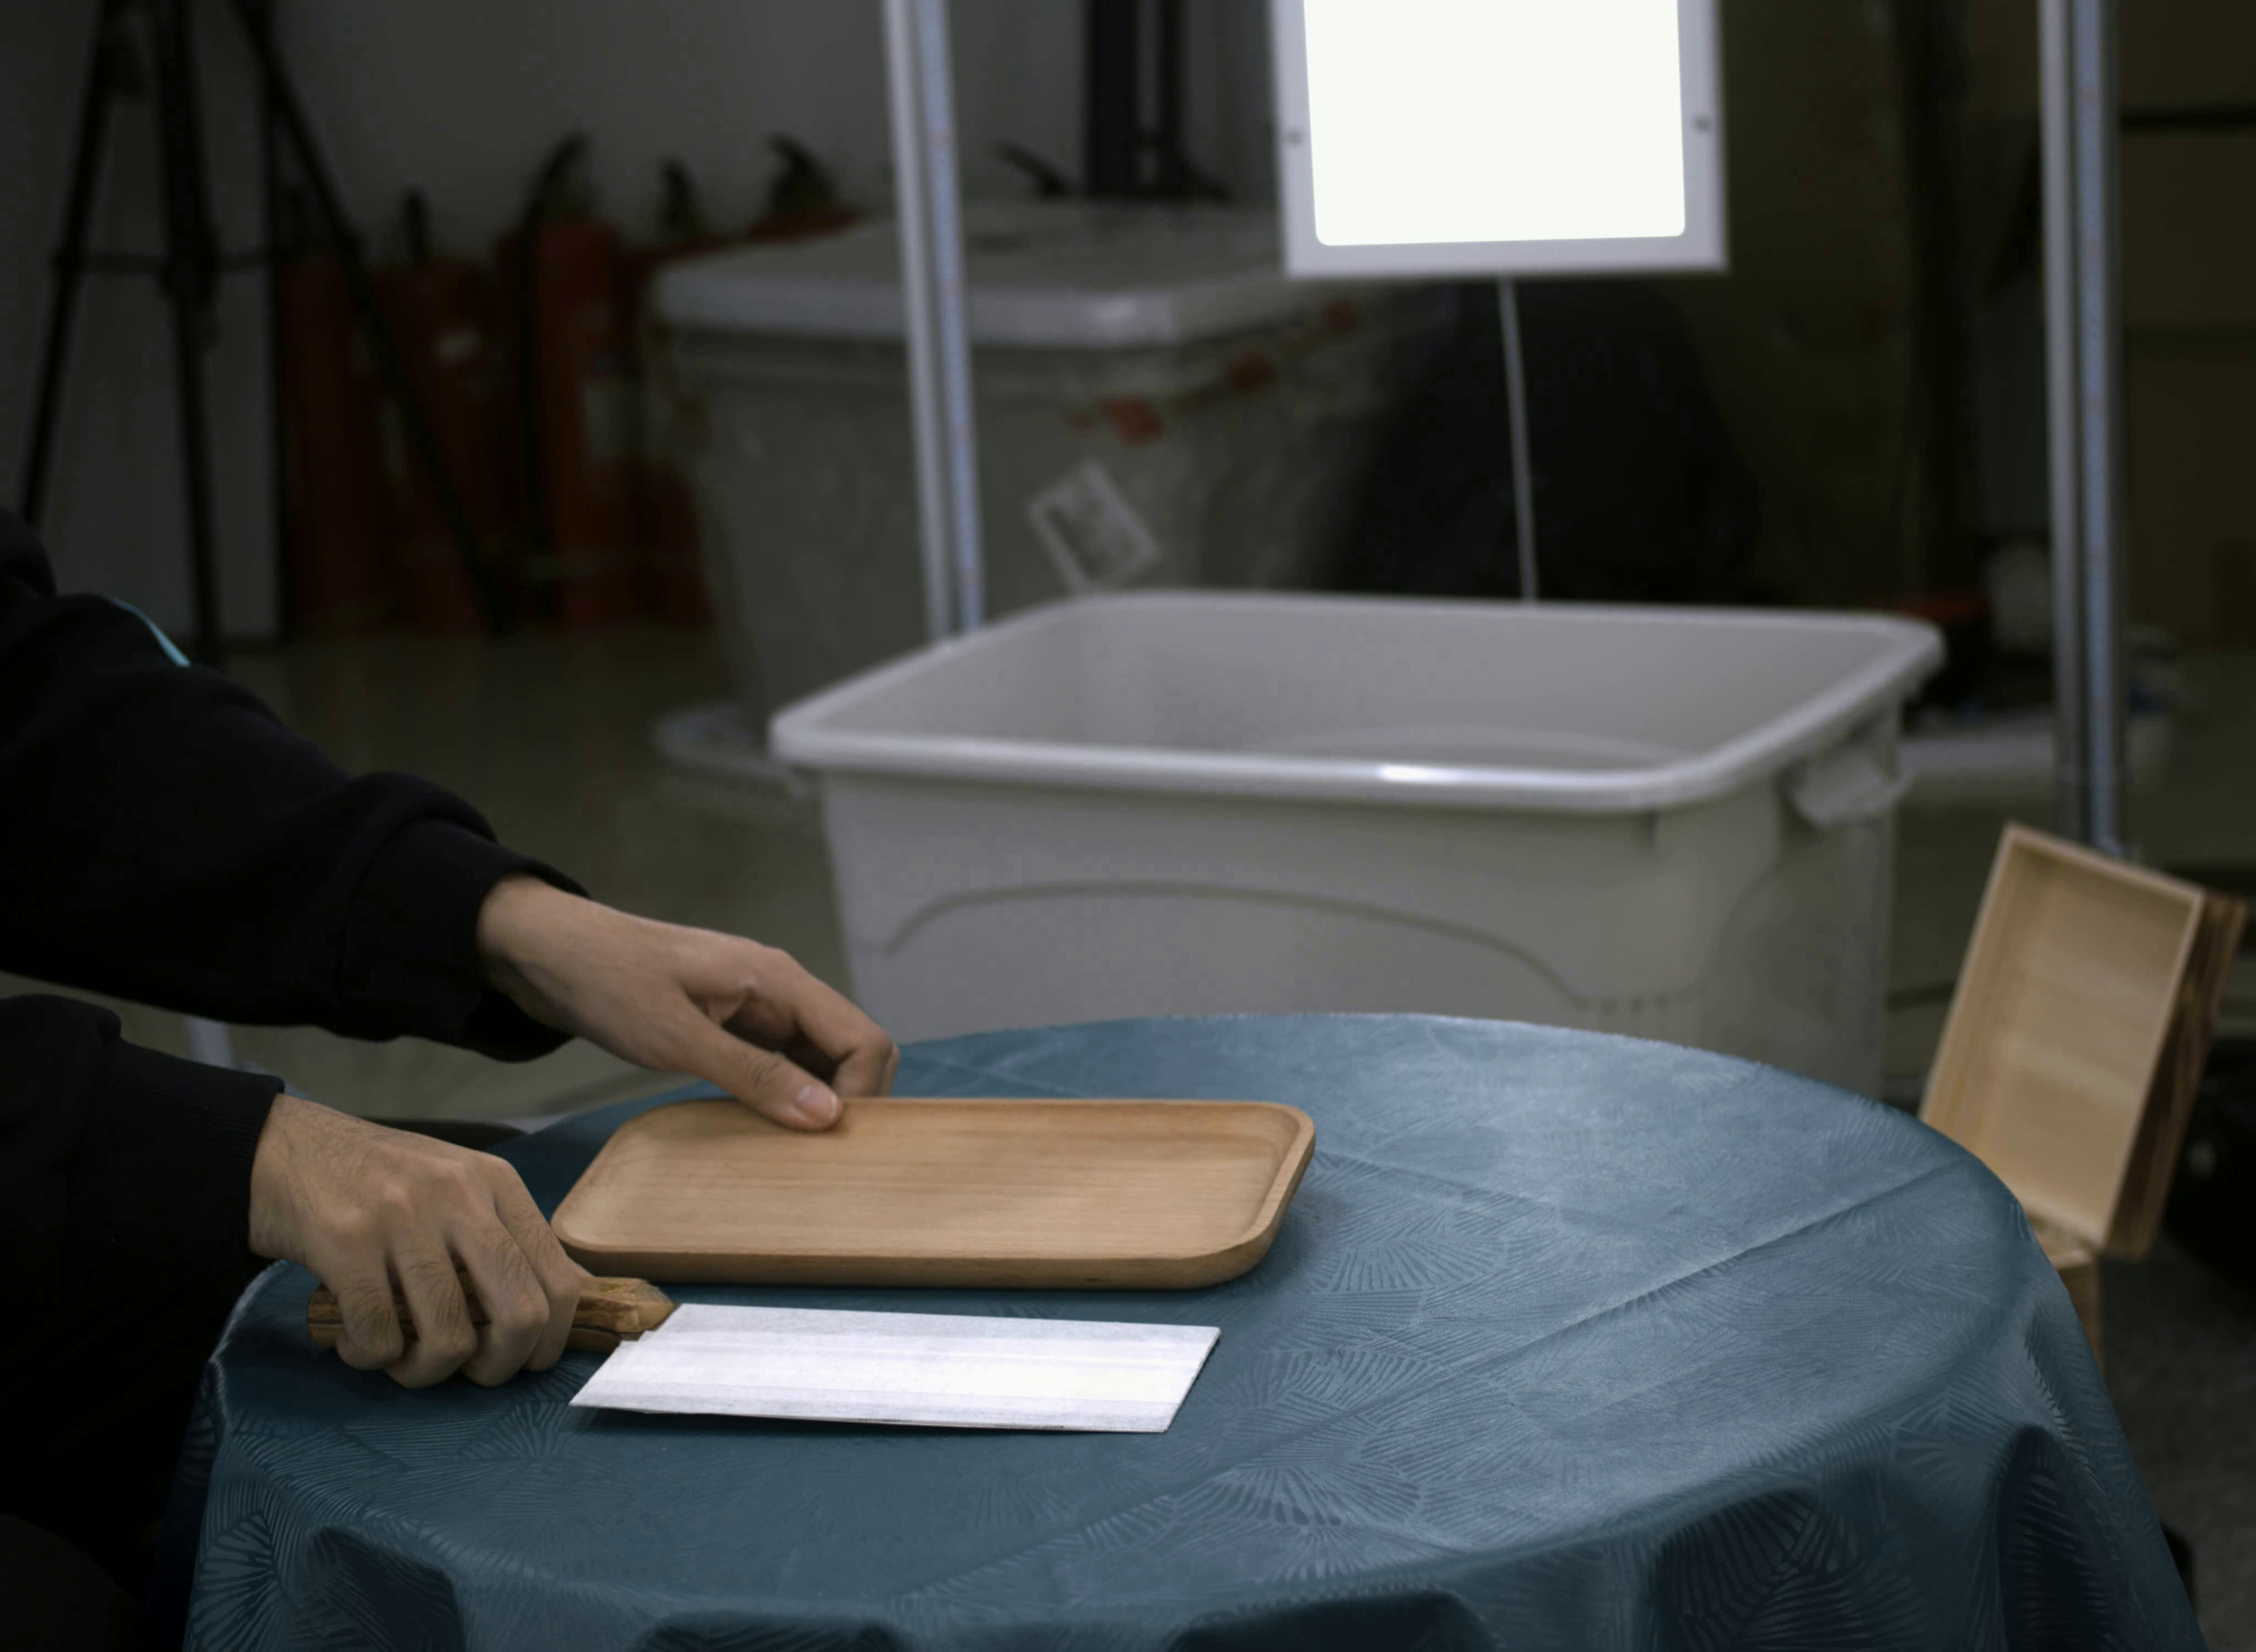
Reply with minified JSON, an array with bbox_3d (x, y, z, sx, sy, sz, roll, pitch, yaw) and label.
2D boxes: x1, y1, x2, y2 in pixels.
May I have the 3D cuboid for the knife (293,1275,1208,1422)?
[{"bbox_3d":[-0.127,0.168,1.743,0.308,0.021,0.091,1,16,15],"label":"knife"}]

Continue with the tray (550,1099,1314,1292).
[{"bbox_3d":[-0.066,0.125,1.869,0.253,0.023,0.128,-1,18,18],"label":"tray"}]
